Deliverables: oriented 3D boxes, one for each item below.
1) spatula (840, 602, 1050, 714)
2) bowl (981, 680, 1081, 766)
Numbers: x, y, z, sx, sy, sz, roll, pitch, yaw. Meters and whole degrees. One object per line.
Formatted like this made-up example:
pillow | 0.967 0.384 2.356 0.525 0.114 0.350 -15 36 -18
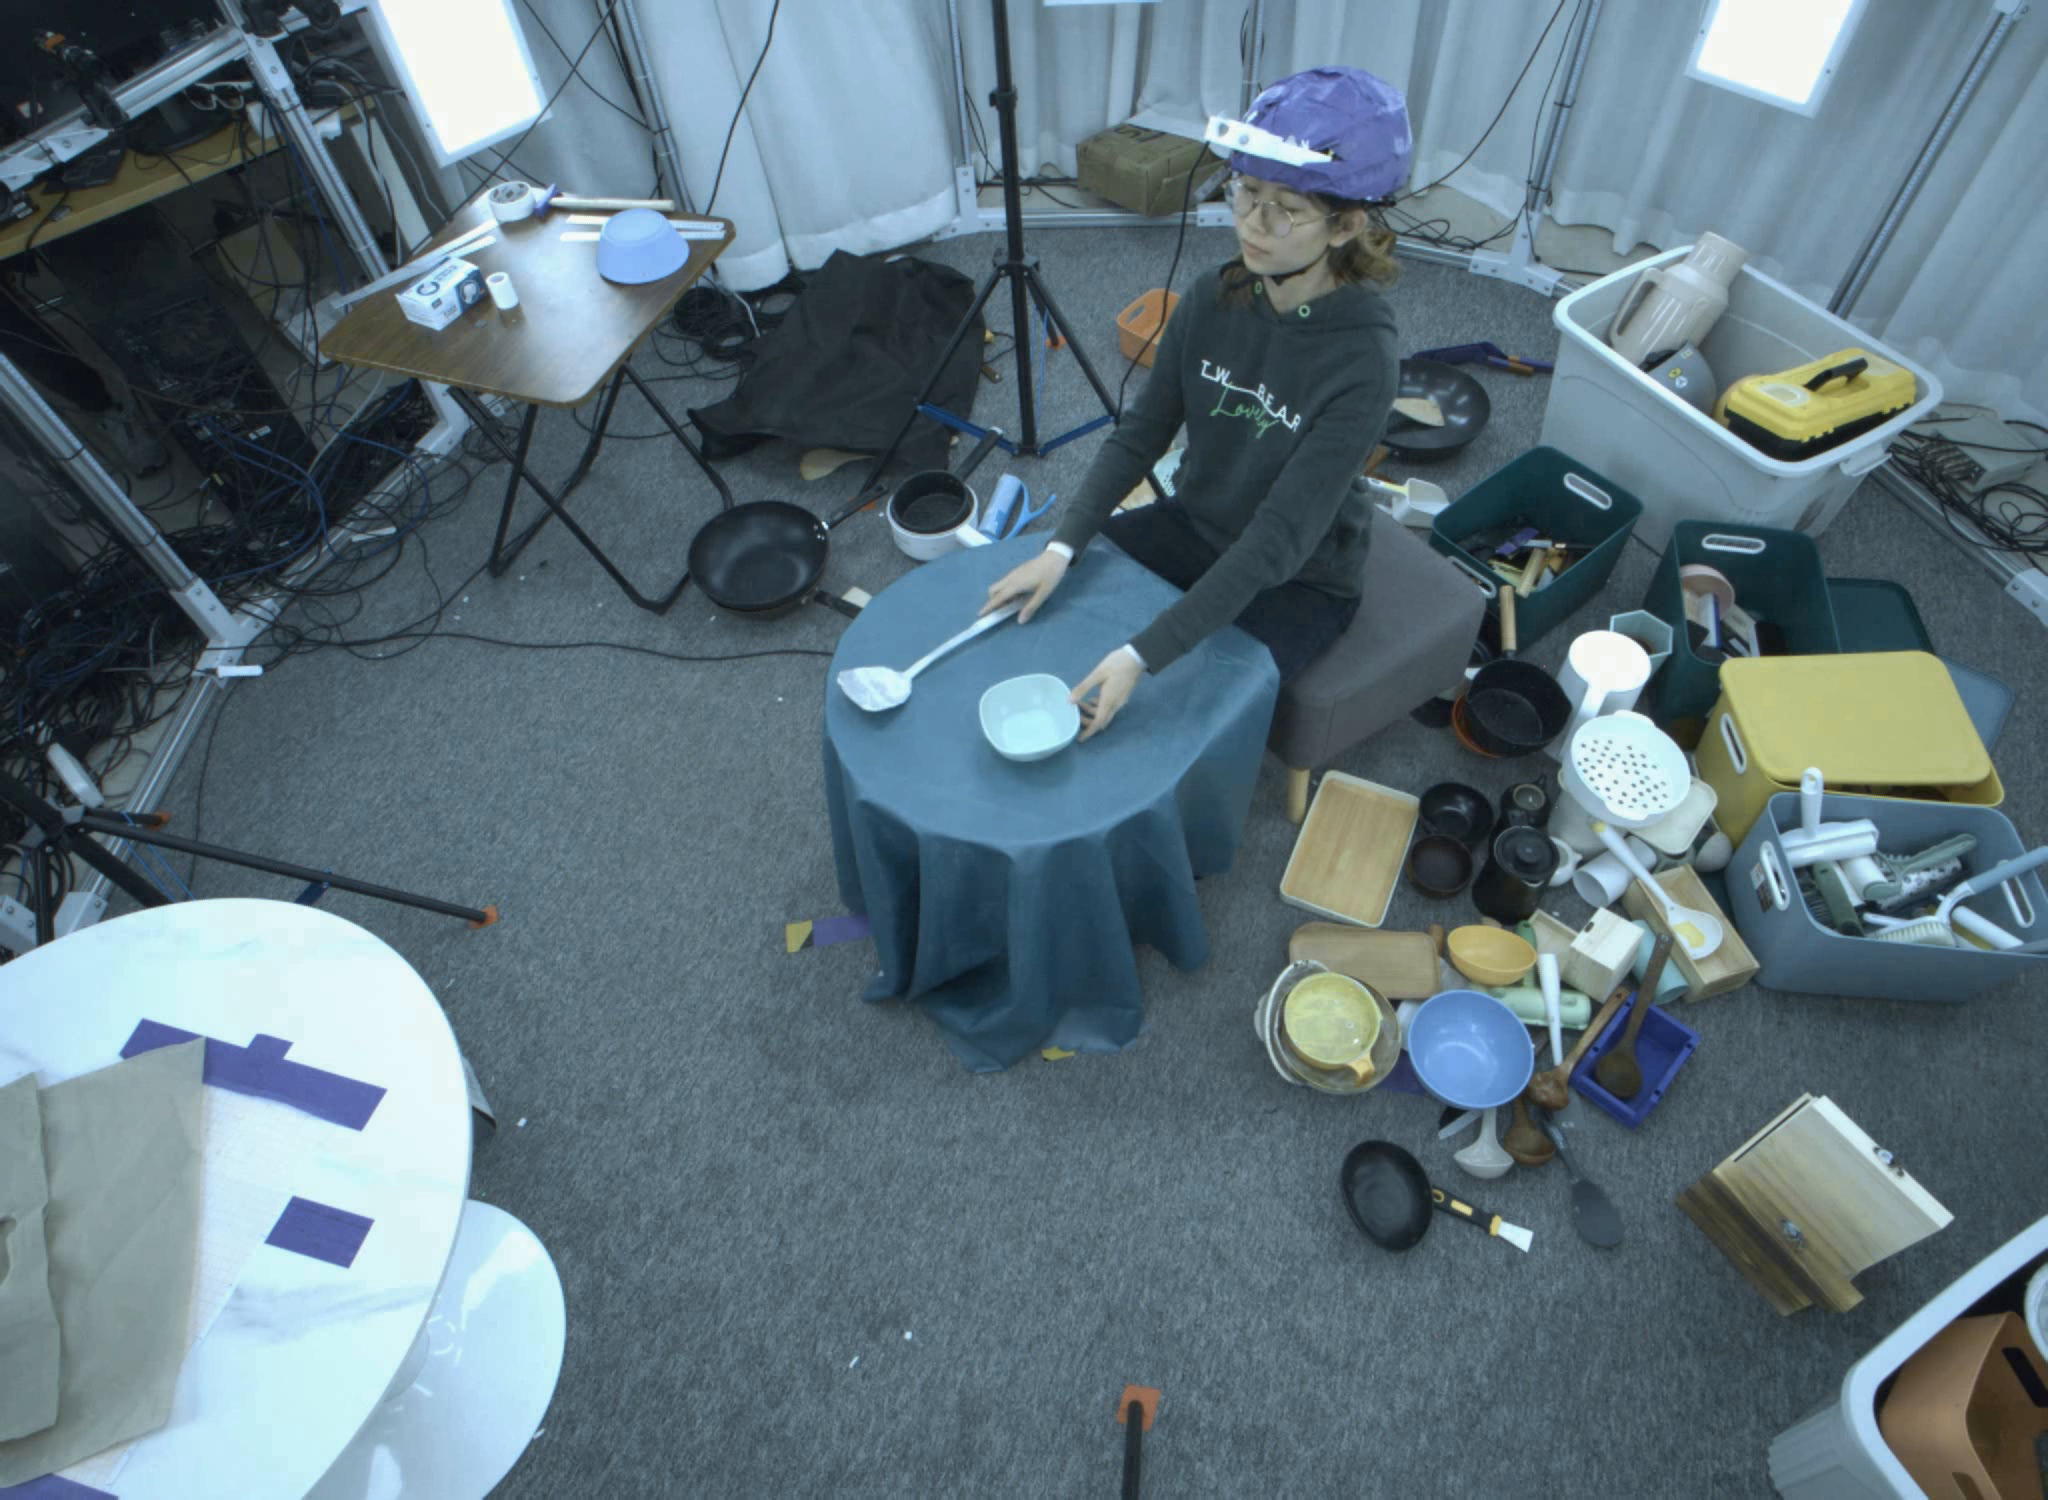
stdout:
spatula | -0.112 -0.156 1.887 0.368 0.045 0.097 -33 58 -19
bowl | 0.009 -0.029 1.791 0.152 0.059 0.150 2 54 -2
